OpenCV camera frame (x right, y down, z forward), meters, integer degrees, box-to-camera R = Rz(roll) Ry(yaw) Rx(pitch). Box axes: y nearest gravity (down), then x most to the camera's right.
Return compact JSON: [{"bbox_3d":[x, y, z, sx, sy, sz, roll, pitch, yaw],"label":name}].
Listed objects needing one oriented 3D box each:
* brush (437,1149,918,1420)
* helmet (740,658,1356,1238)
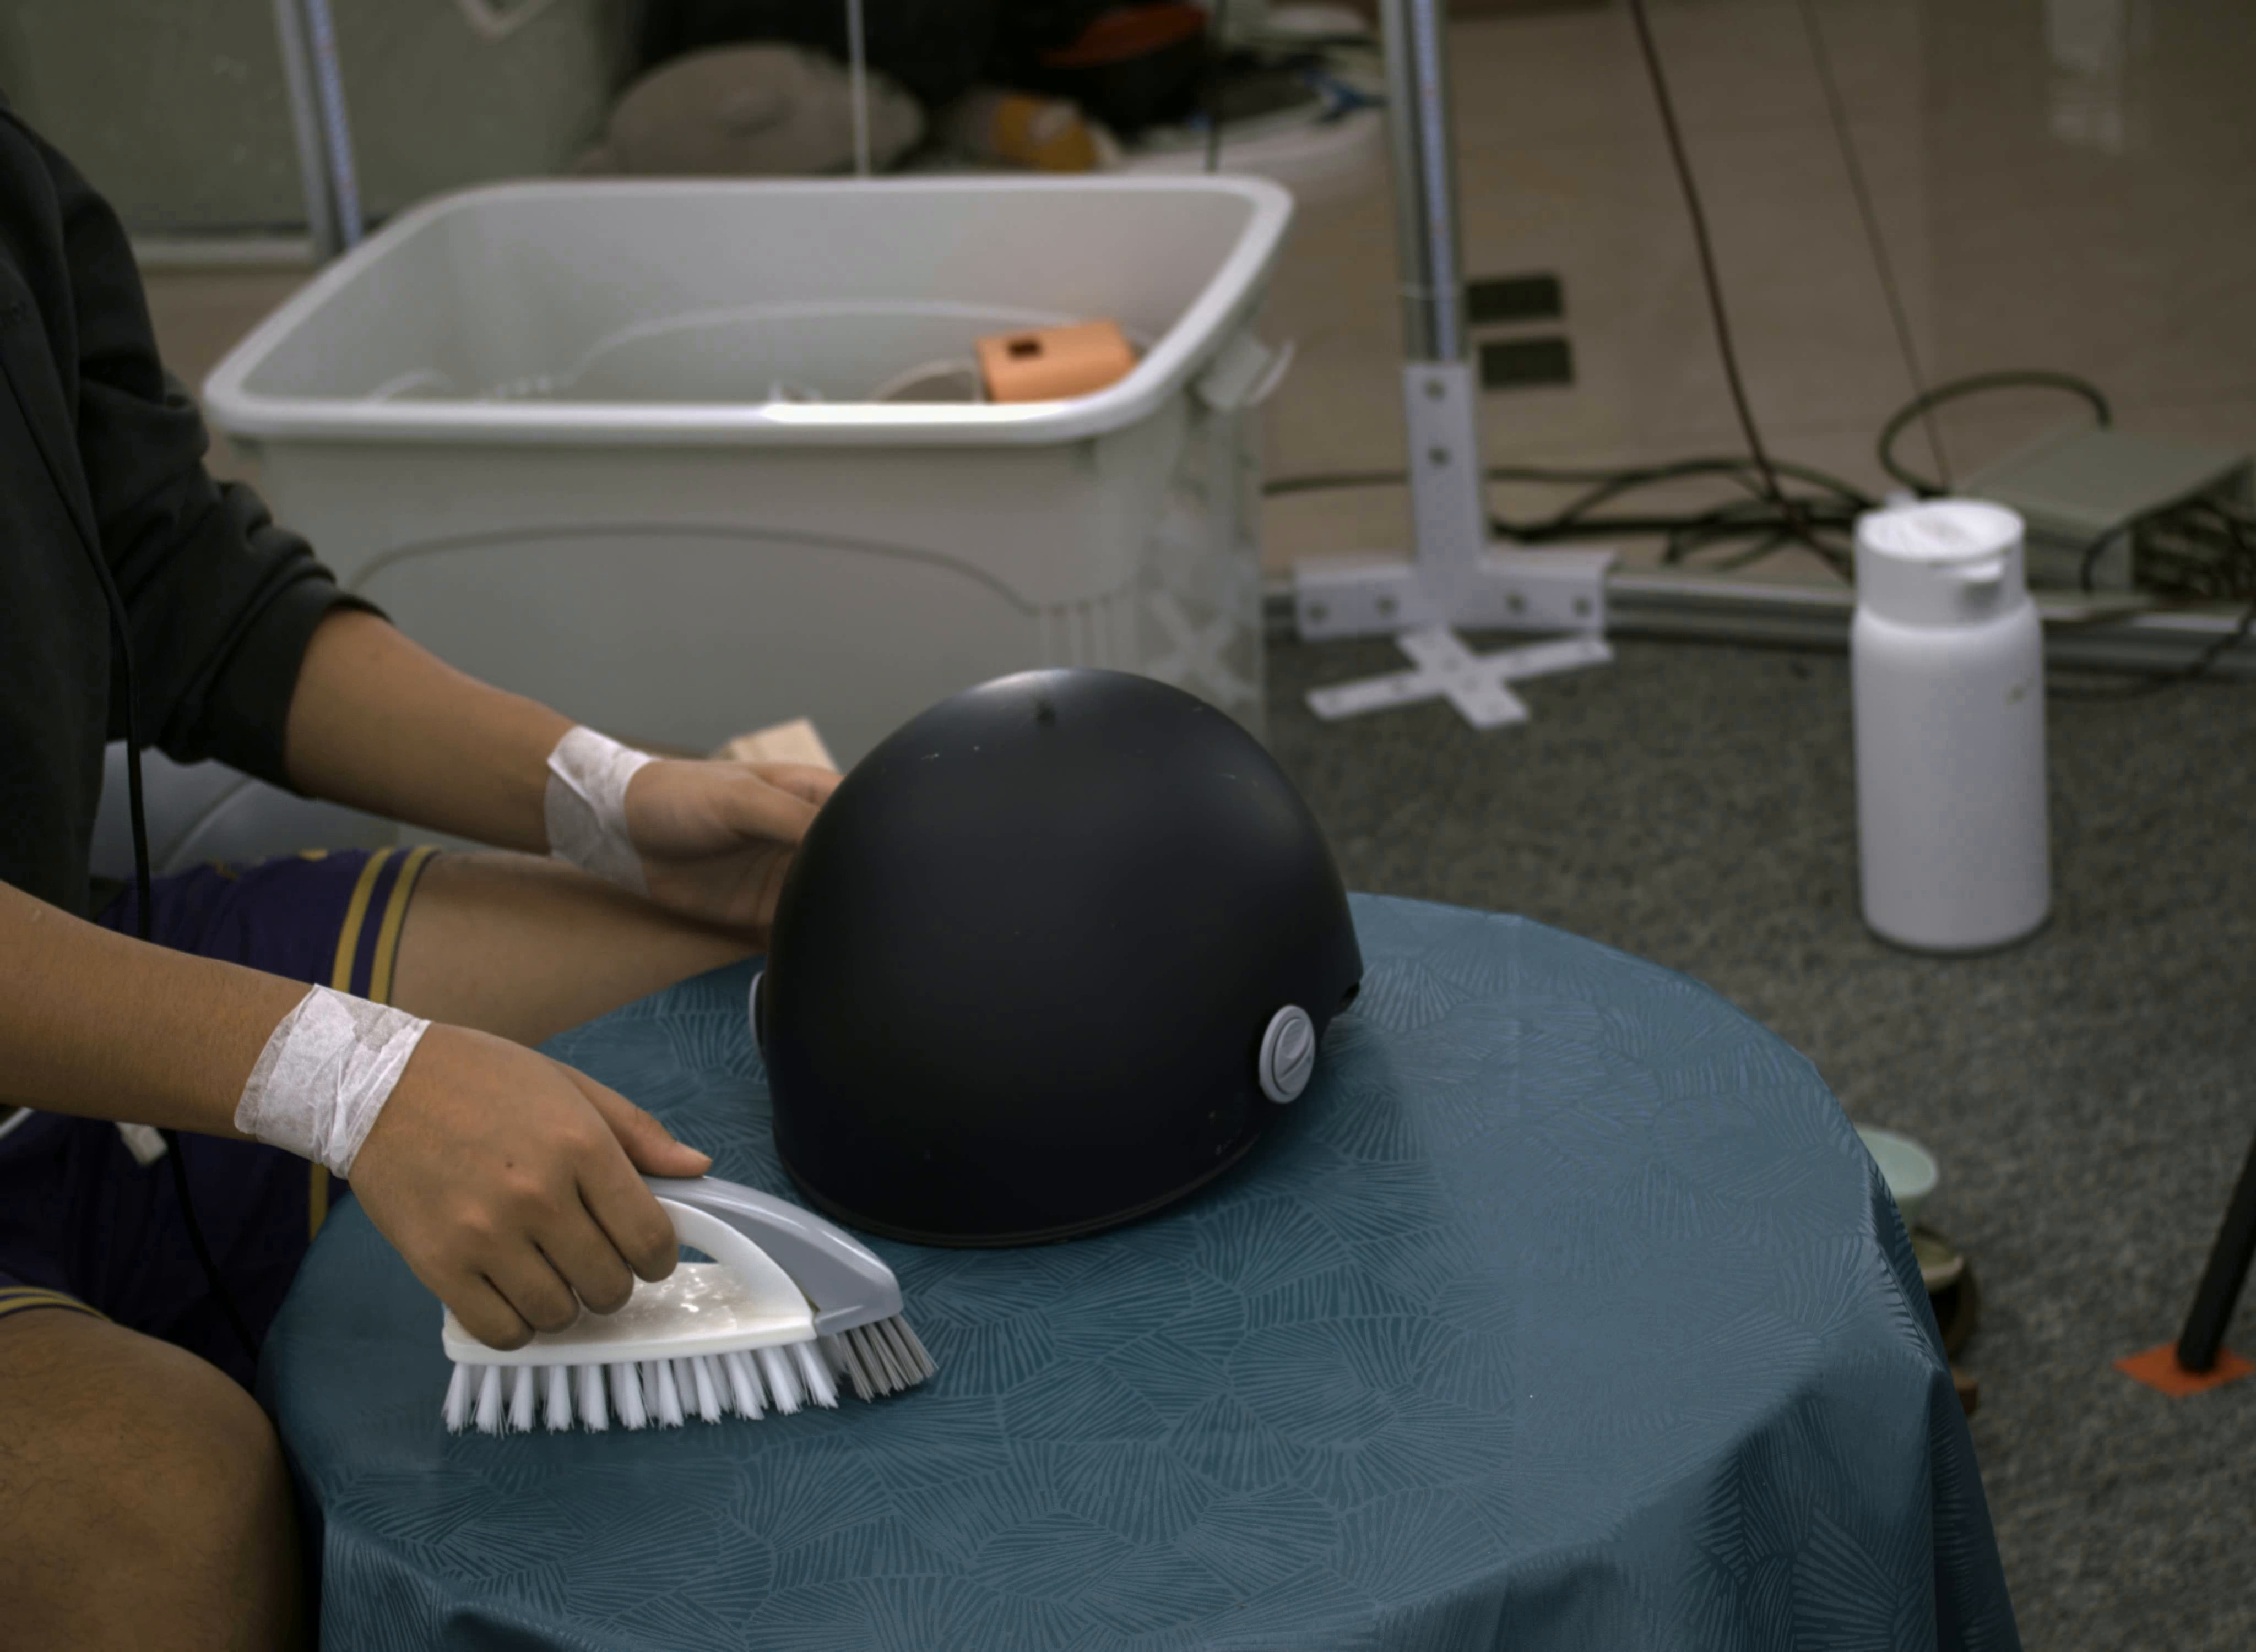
[{"bbox_3d":[-0.163,0.160,2.030,0.175,0.096,0.060,2,26,9],"label":"brush"},{"bbox_3d":[-0.035,0.030,2.198,0.229,0.169,0.269,4,29,23],"label":"helmet"}]
